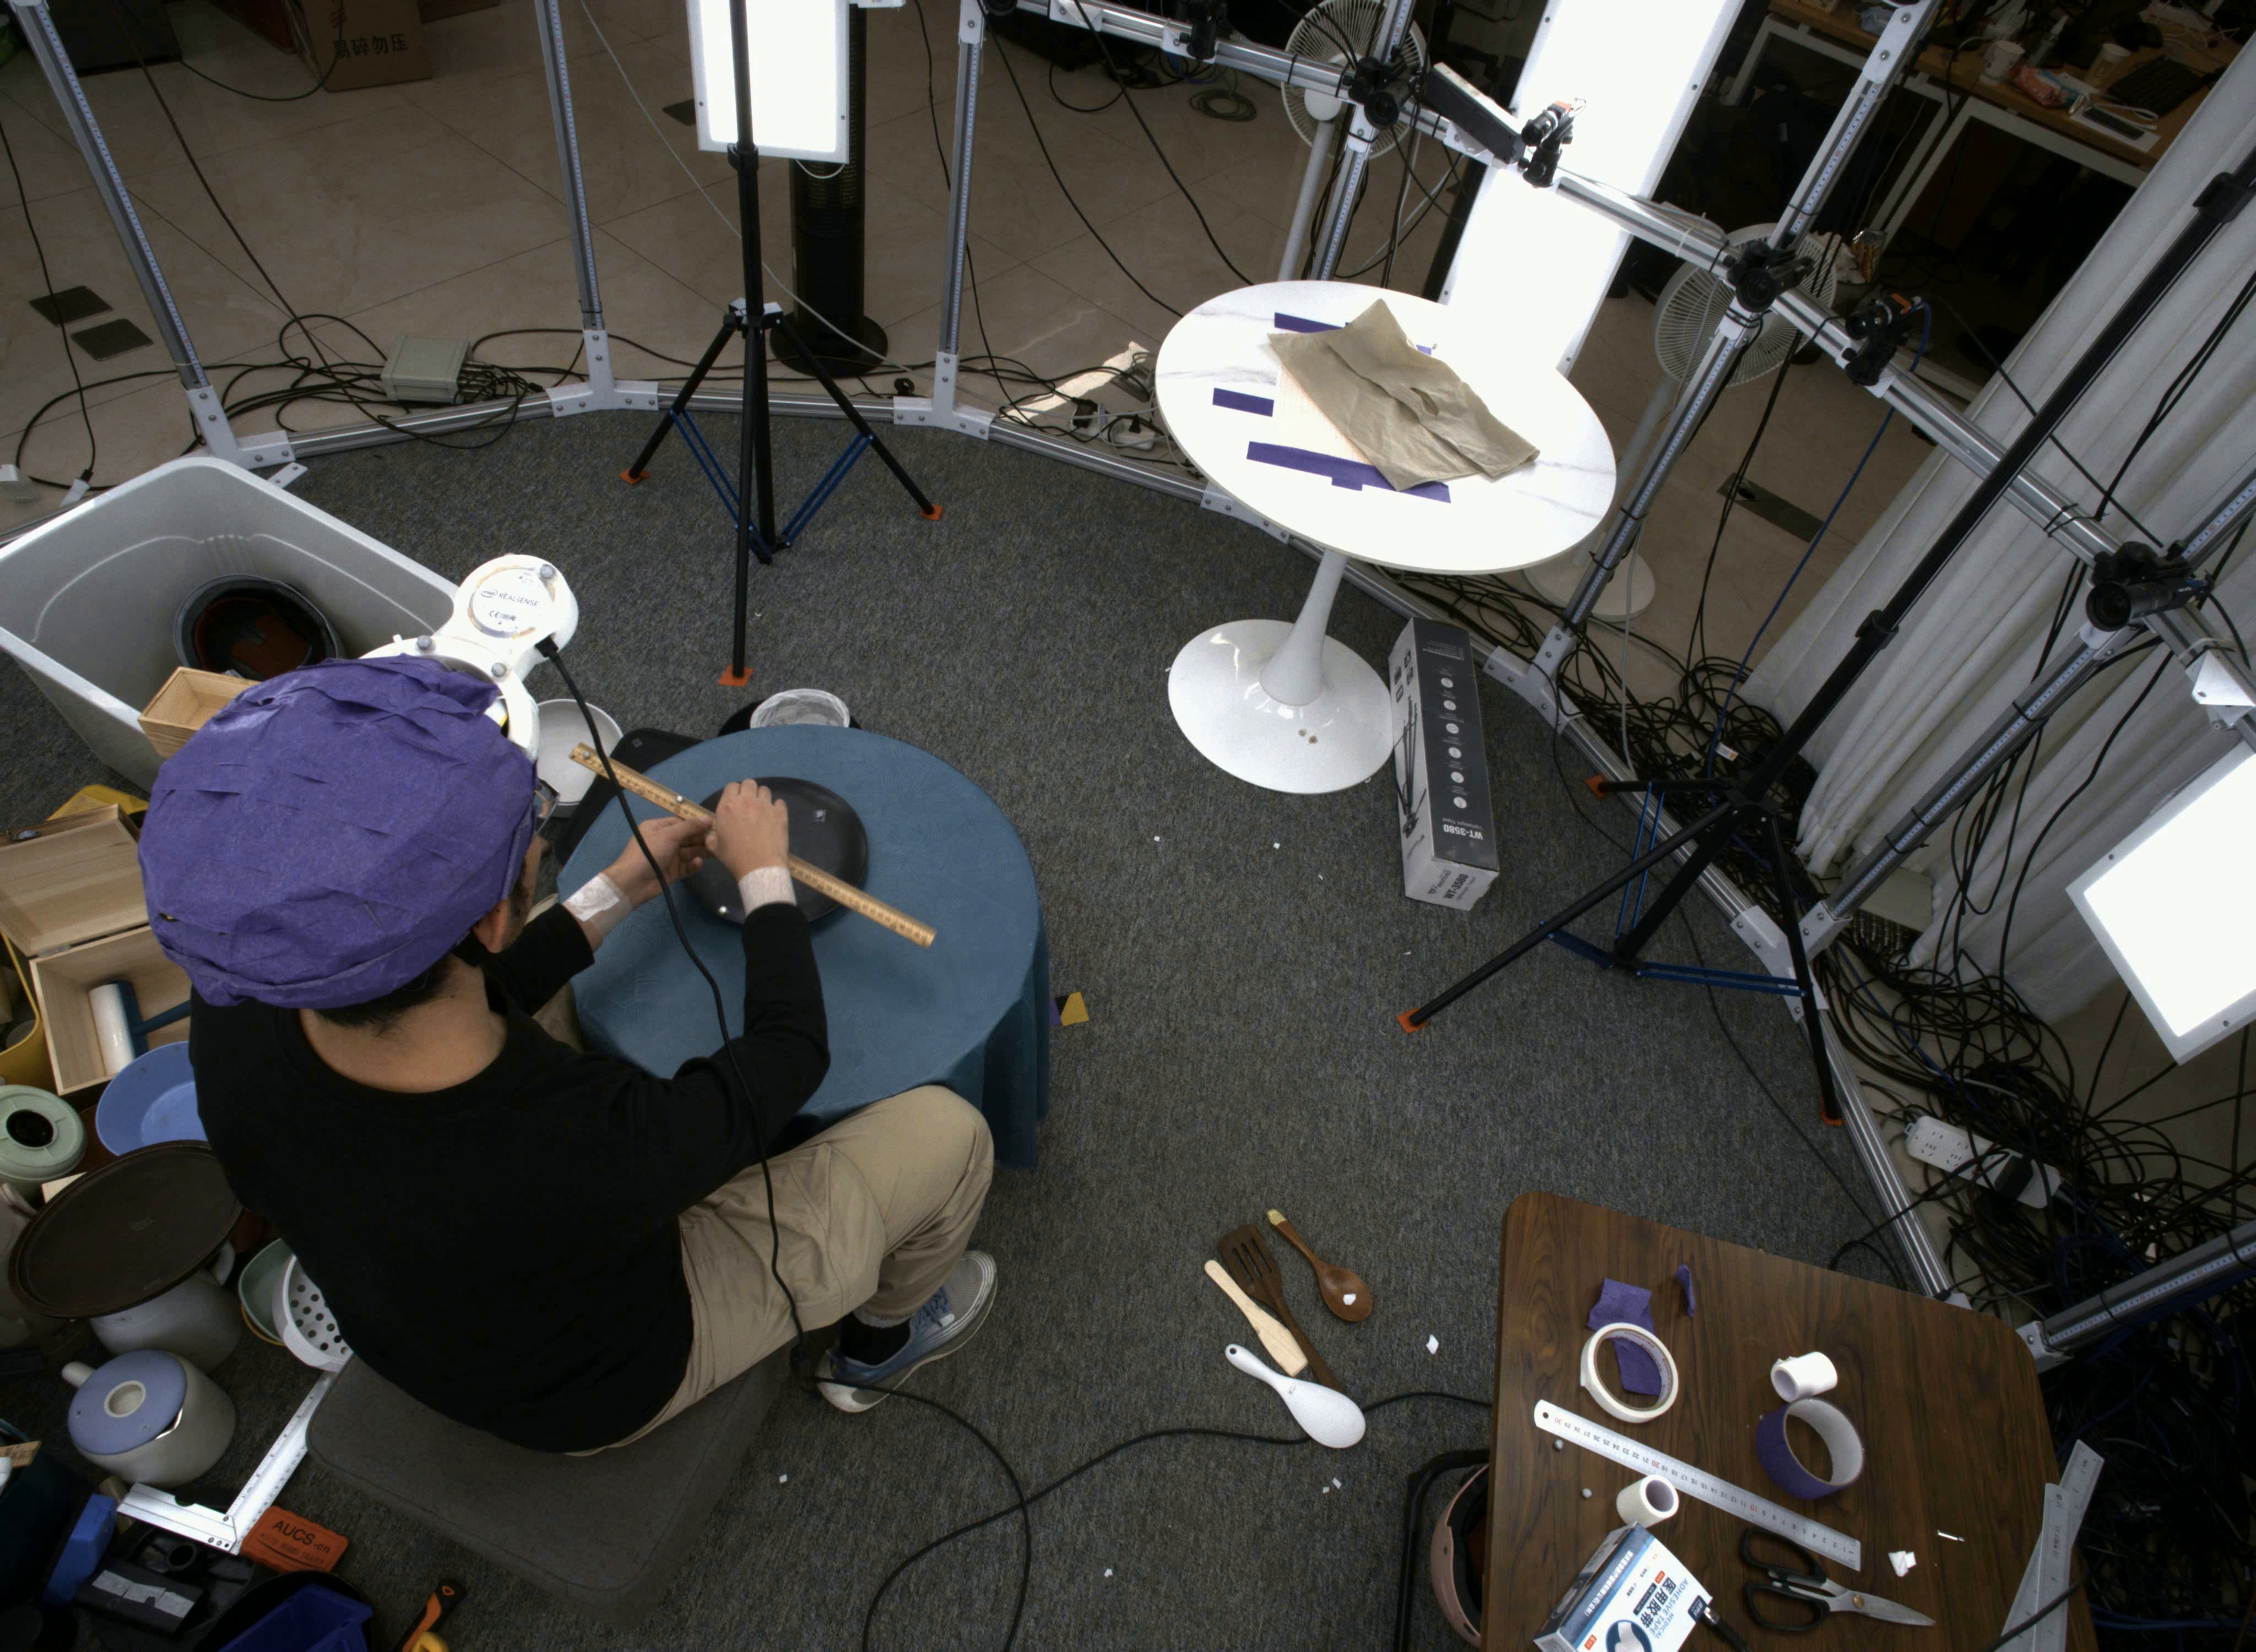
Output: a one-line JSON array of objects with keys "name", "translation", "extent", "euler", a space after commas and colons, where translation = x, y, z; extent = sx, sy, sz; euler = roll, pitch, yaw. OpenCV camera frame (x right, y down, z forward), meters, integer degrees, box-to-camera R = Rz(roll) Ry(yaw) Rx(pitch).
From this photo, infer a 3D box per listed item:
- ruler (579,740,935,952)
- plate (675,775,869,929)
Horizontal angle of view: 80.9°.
[{"name": "ruler", "translation": [-0.456, 0.022, 1.562], "extent": [0.499, 0.006, 0.027], "euler": [29, 64, -2]}, {"name": "plate", "translation": [-0.458, 0.034, 1.669], "extent": [0.244, 0.024, 0.240], "euler": [8, 53, -9]}]
